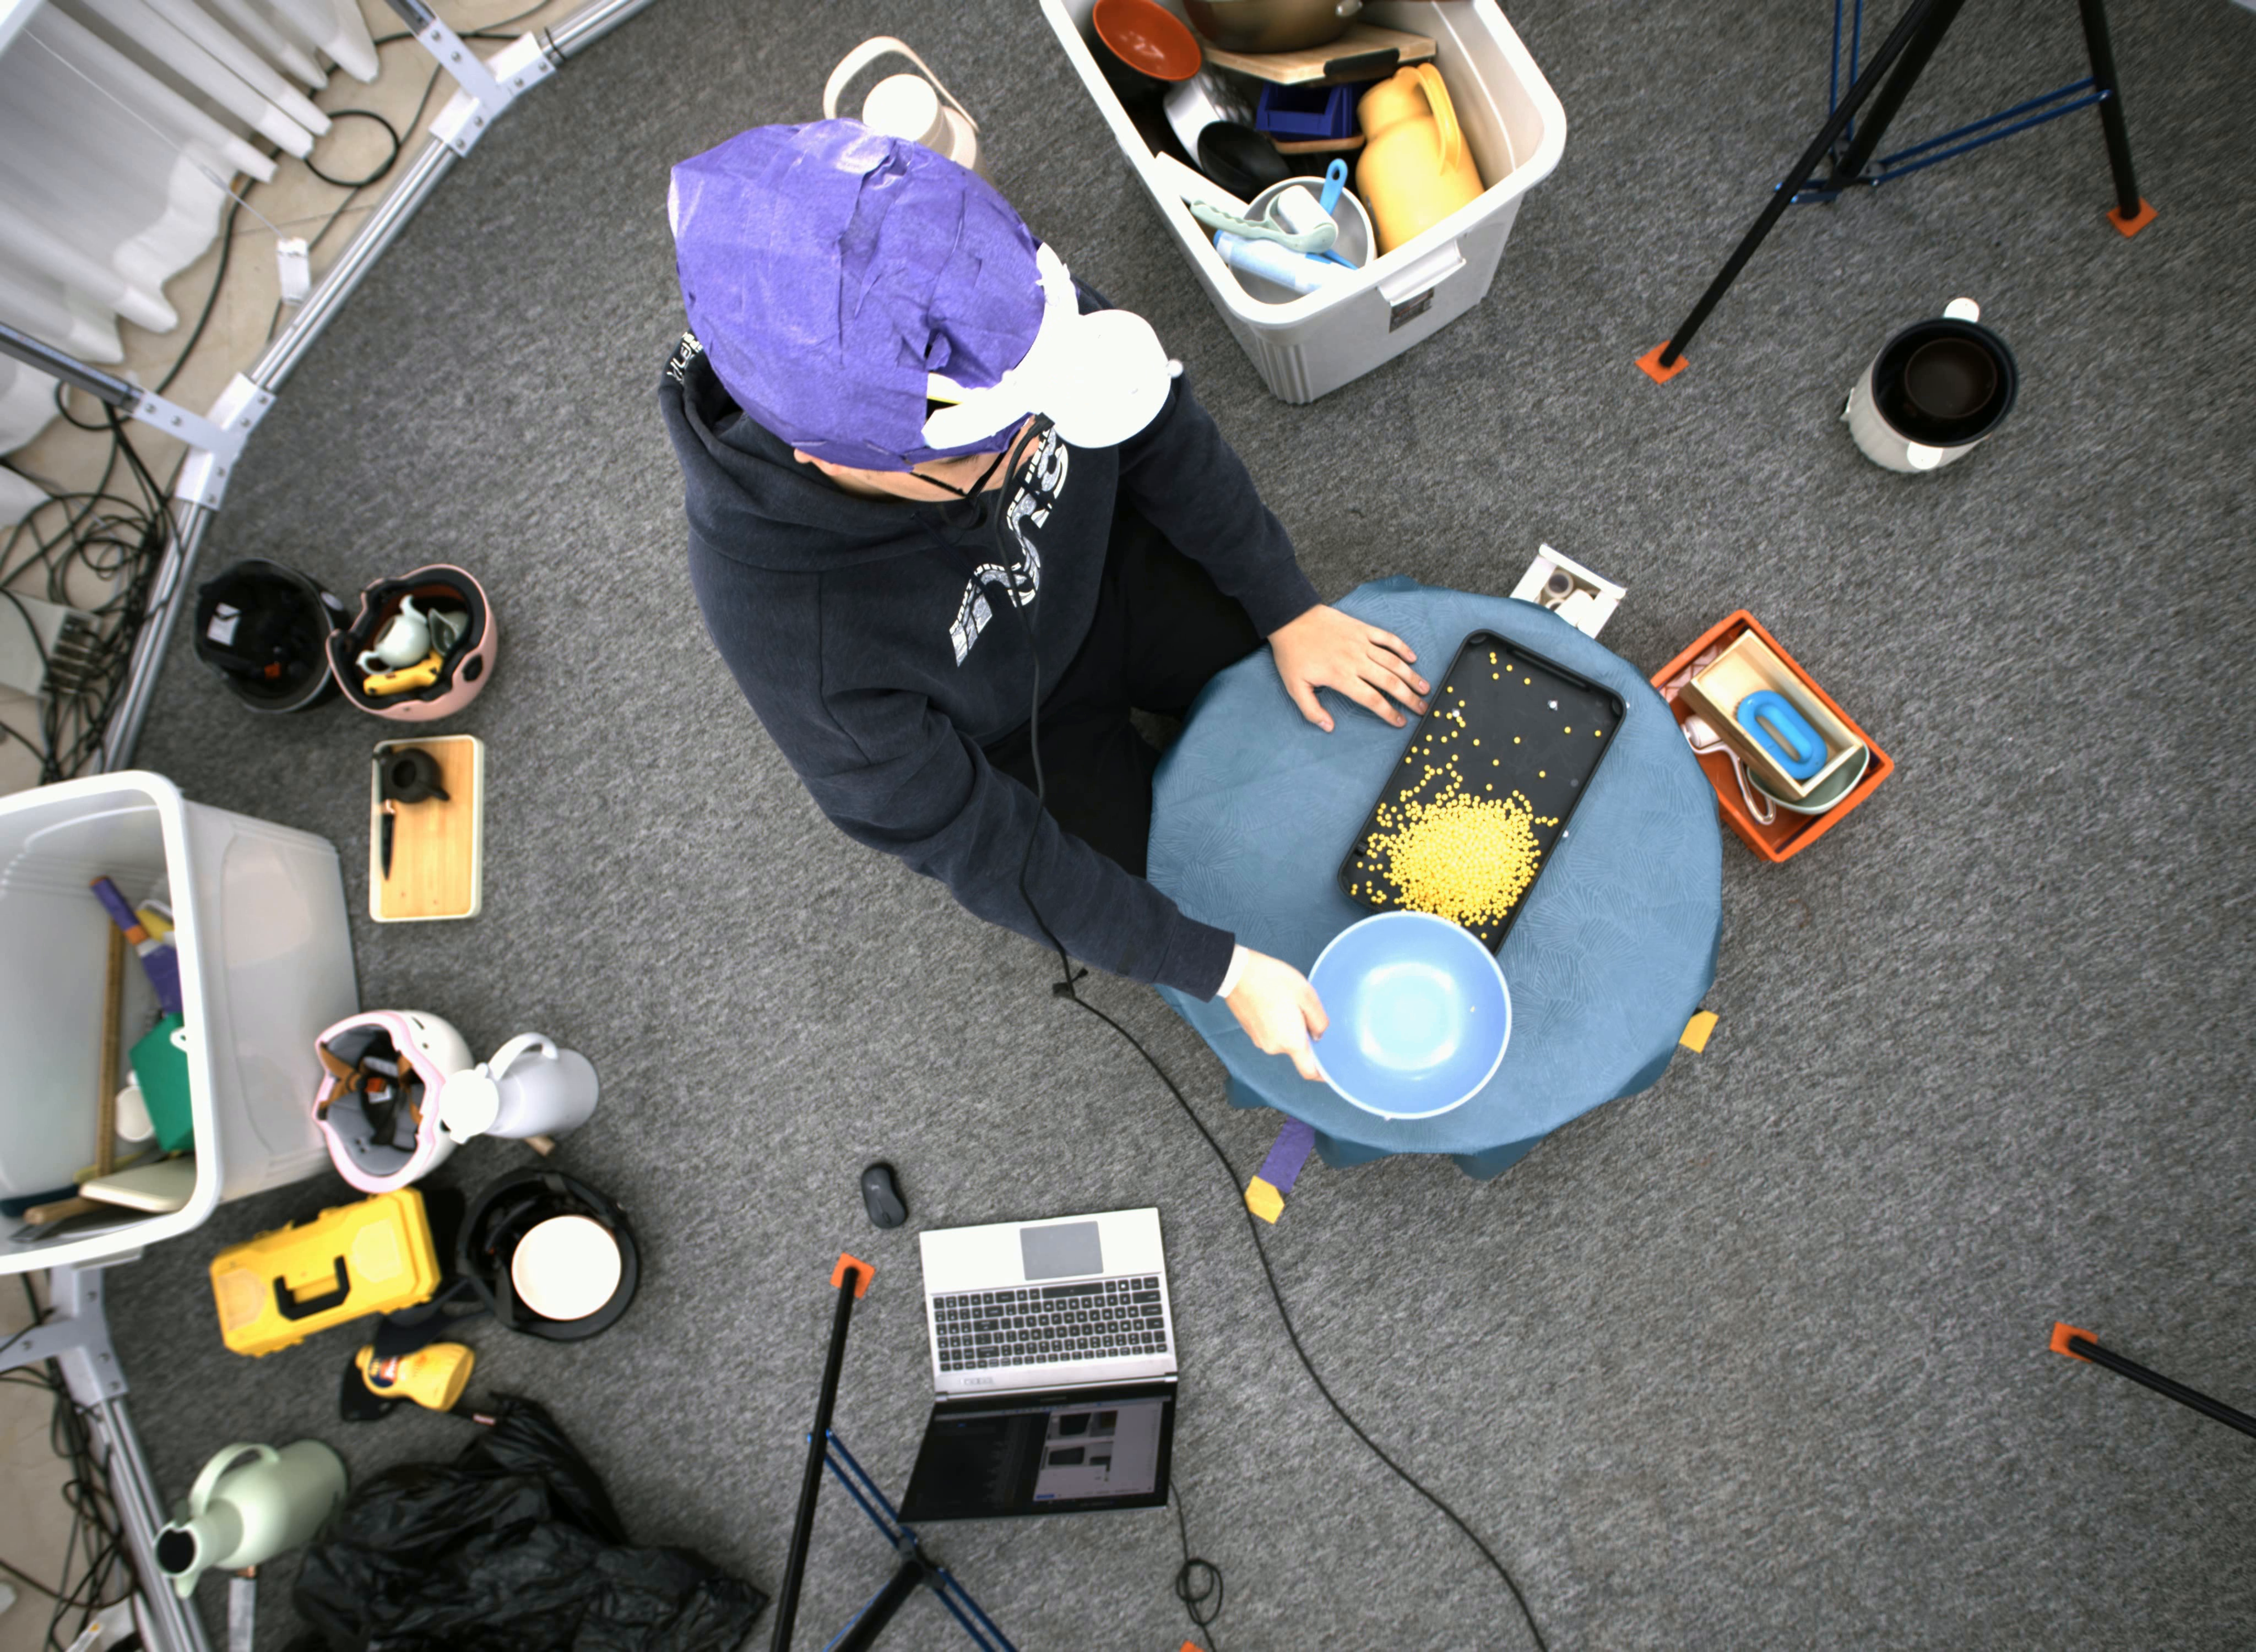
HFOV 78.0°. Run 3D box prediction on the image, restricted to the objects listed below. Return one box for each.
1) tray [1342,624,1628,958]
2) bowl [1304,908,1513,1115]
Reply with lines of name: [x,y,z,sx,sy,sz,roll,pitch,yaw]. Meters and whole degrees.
tray: [0.370,-0.038,1.431,0.184,0.037,0.318,27,93,12]
bowl: [0.276,0.181,1.354,0.197,0.095,0.195,-2,83,16]
